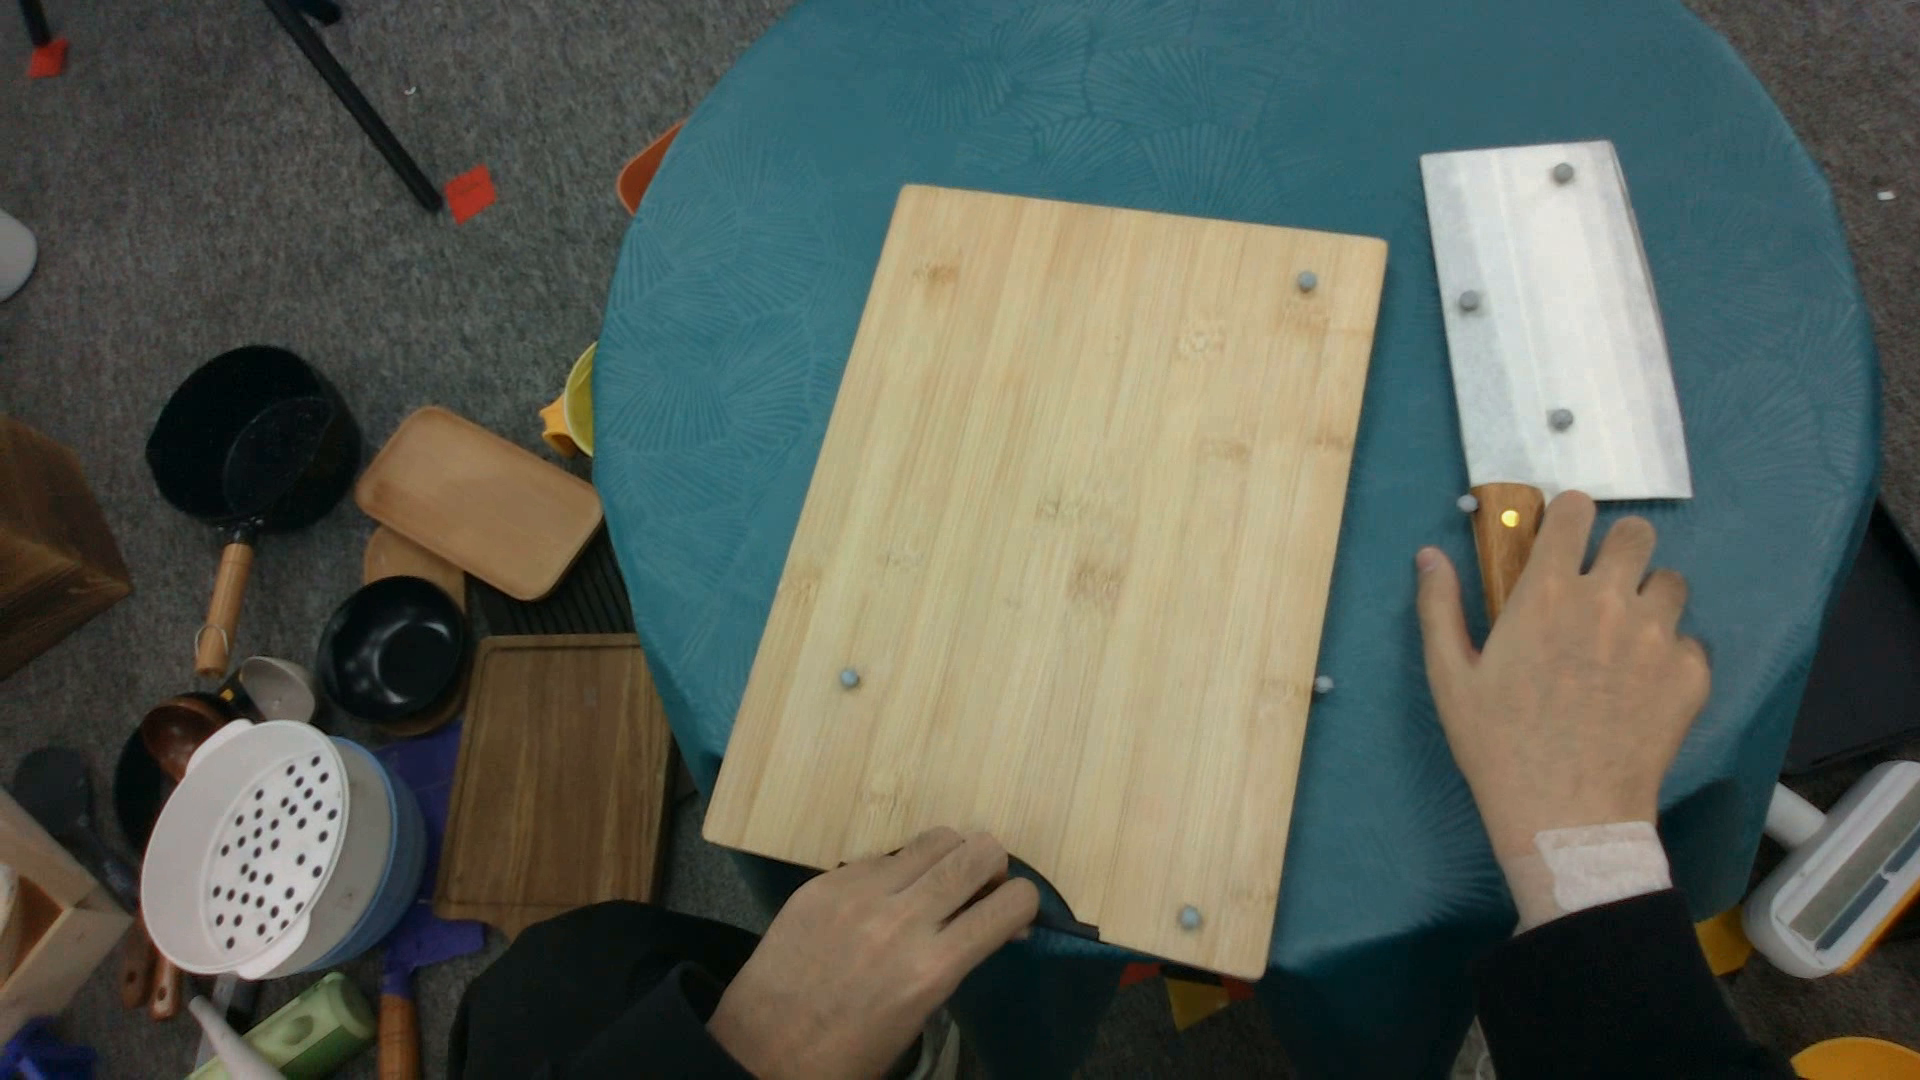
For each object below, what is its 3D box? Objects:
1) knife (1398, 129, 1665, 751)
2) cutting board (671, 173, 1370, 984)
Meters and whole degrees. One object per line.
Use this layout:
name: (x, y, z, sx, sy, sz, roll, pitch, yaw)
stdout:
knife: (0.257, -0.058, 0.609, 0.093, 0.021, 0.307, -3, 66, 7)
cutting board: (0.036, -0.004, 0.622, 0.250, 0.023, 0.350, 9, 70, 13)
